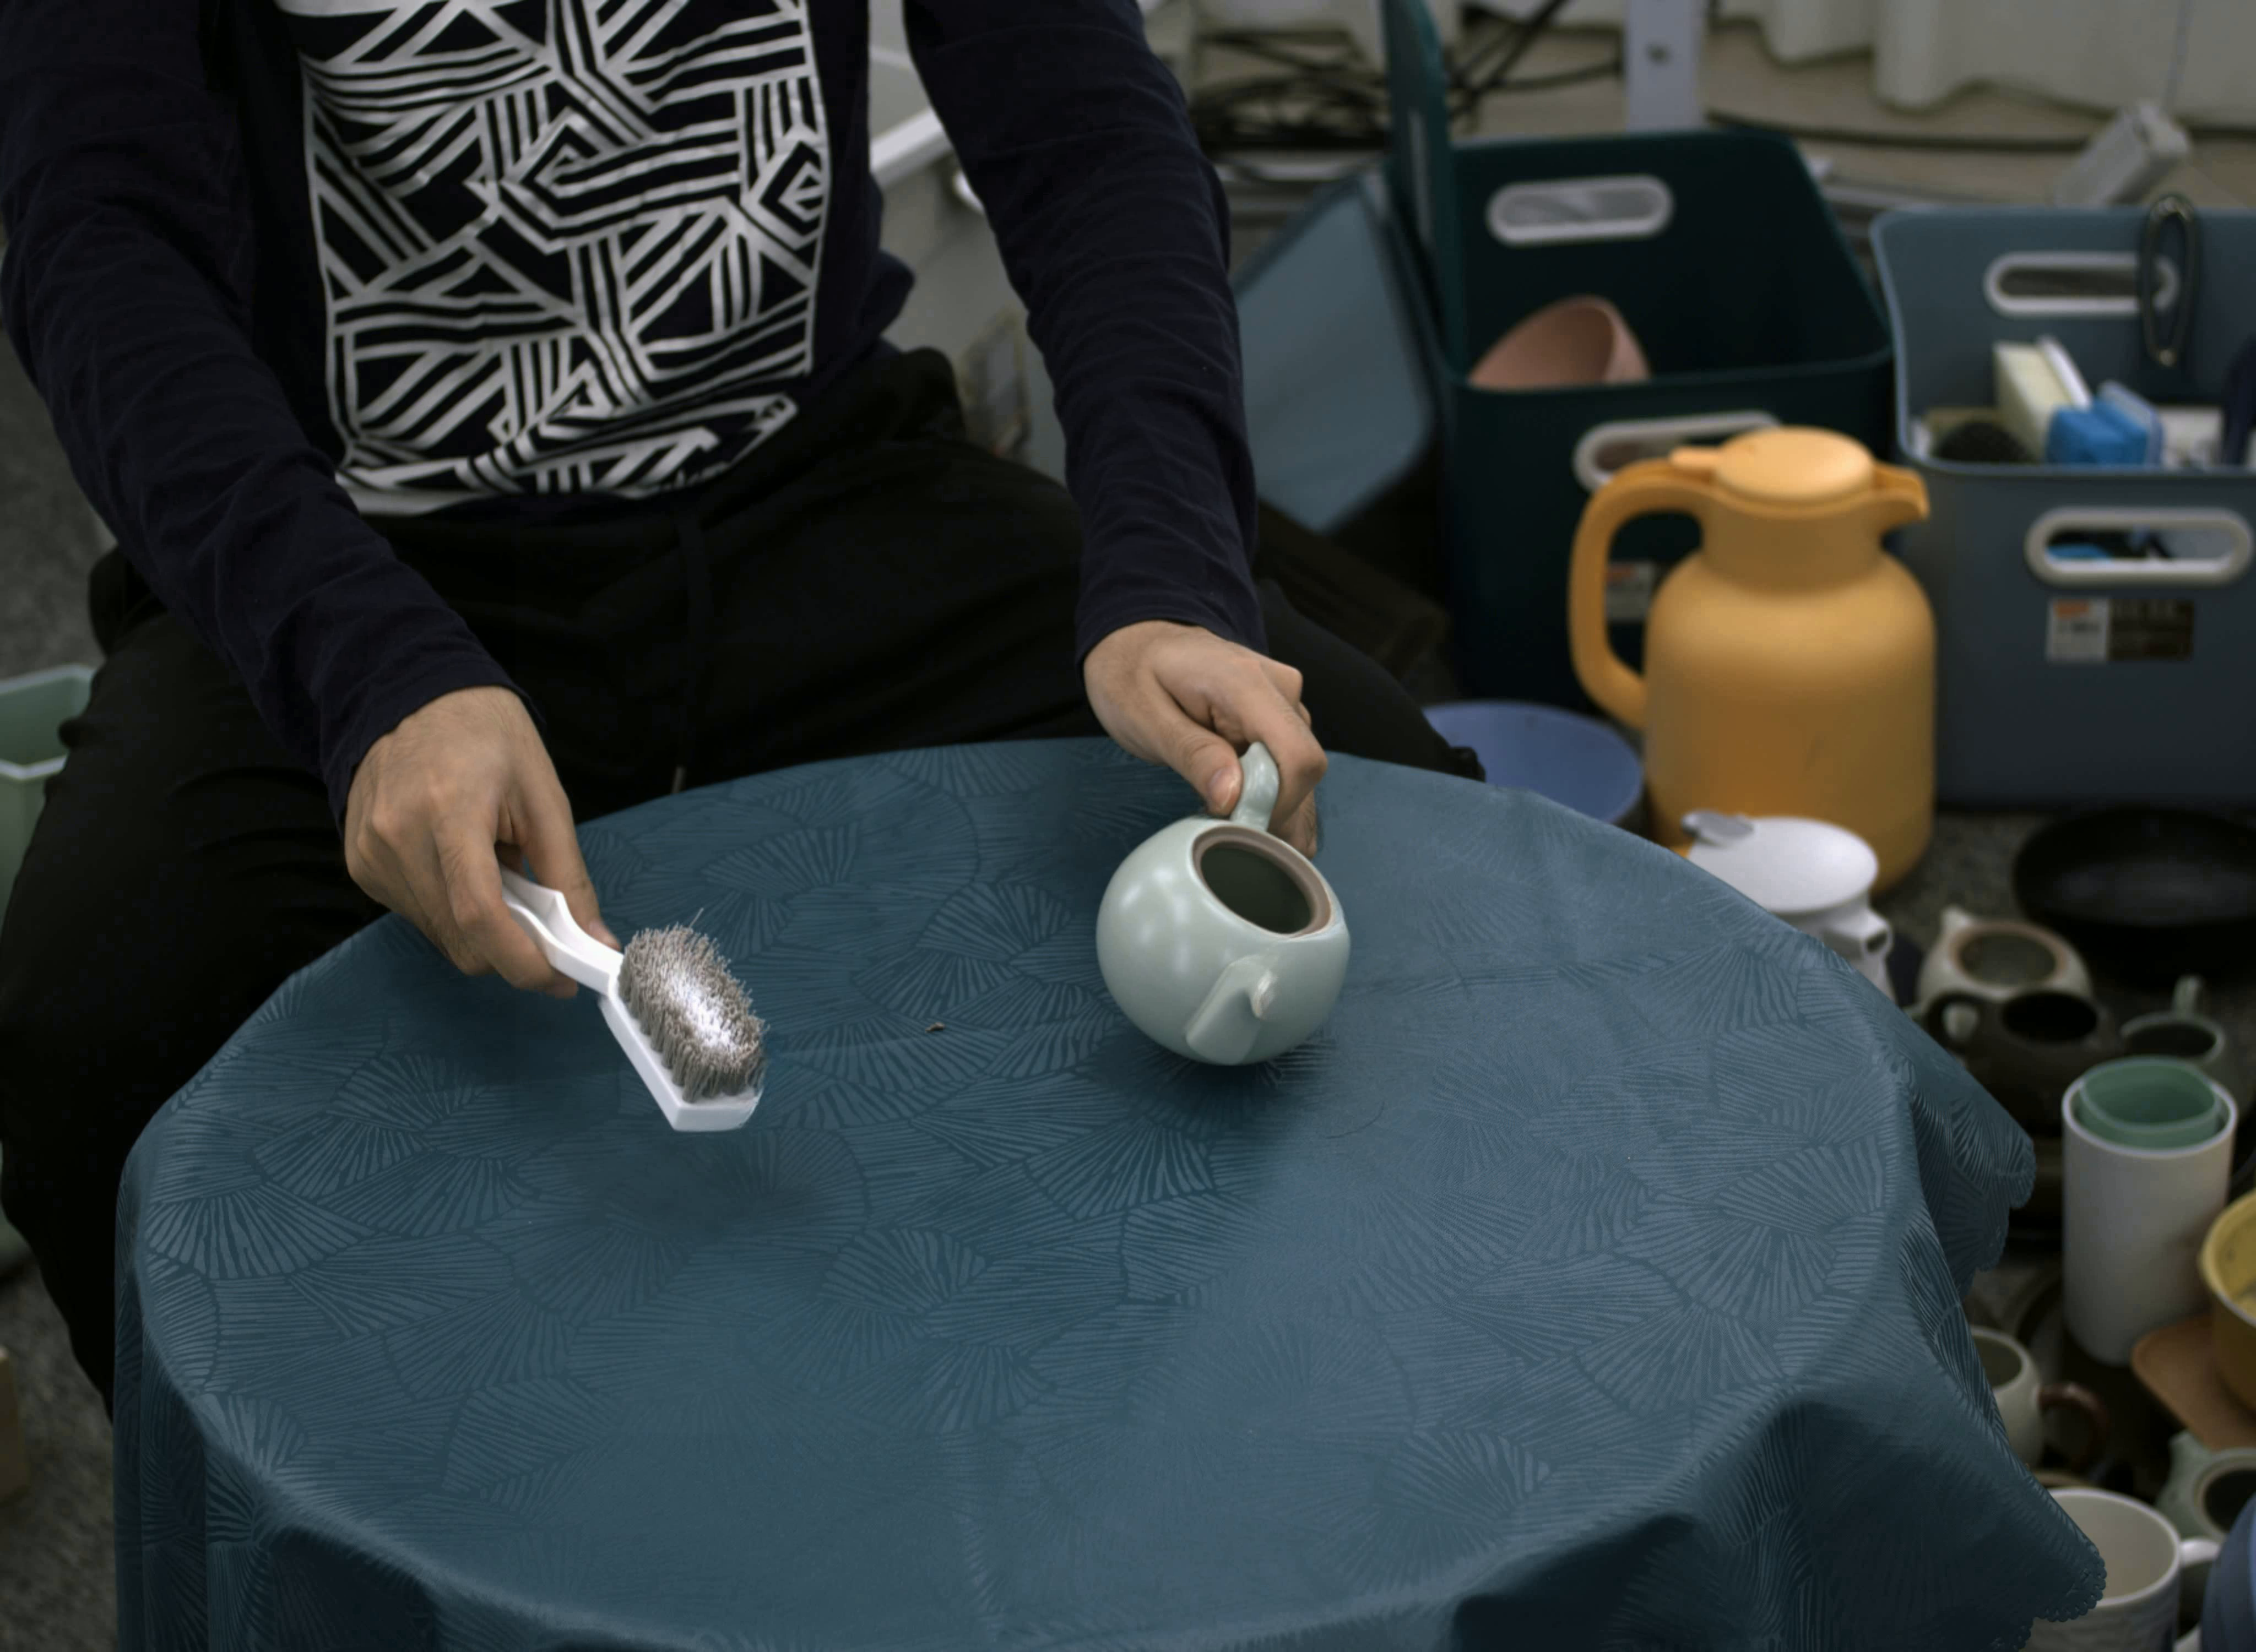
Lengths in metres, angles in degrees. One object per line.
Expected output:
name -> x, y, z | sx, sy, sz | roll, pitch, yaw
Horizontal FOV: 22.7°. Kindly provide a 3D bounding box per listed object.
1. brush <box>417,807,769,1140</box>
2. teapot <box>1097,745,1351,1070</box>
brush -> -0.187, 0.033, 1.910 | 0.034, 0.049, 0.245 | -13, 32, -26
teapot -> 0.033, 0.040, 1.924 | 0.088, 0.073, 0.146 | 21, 36, -13
